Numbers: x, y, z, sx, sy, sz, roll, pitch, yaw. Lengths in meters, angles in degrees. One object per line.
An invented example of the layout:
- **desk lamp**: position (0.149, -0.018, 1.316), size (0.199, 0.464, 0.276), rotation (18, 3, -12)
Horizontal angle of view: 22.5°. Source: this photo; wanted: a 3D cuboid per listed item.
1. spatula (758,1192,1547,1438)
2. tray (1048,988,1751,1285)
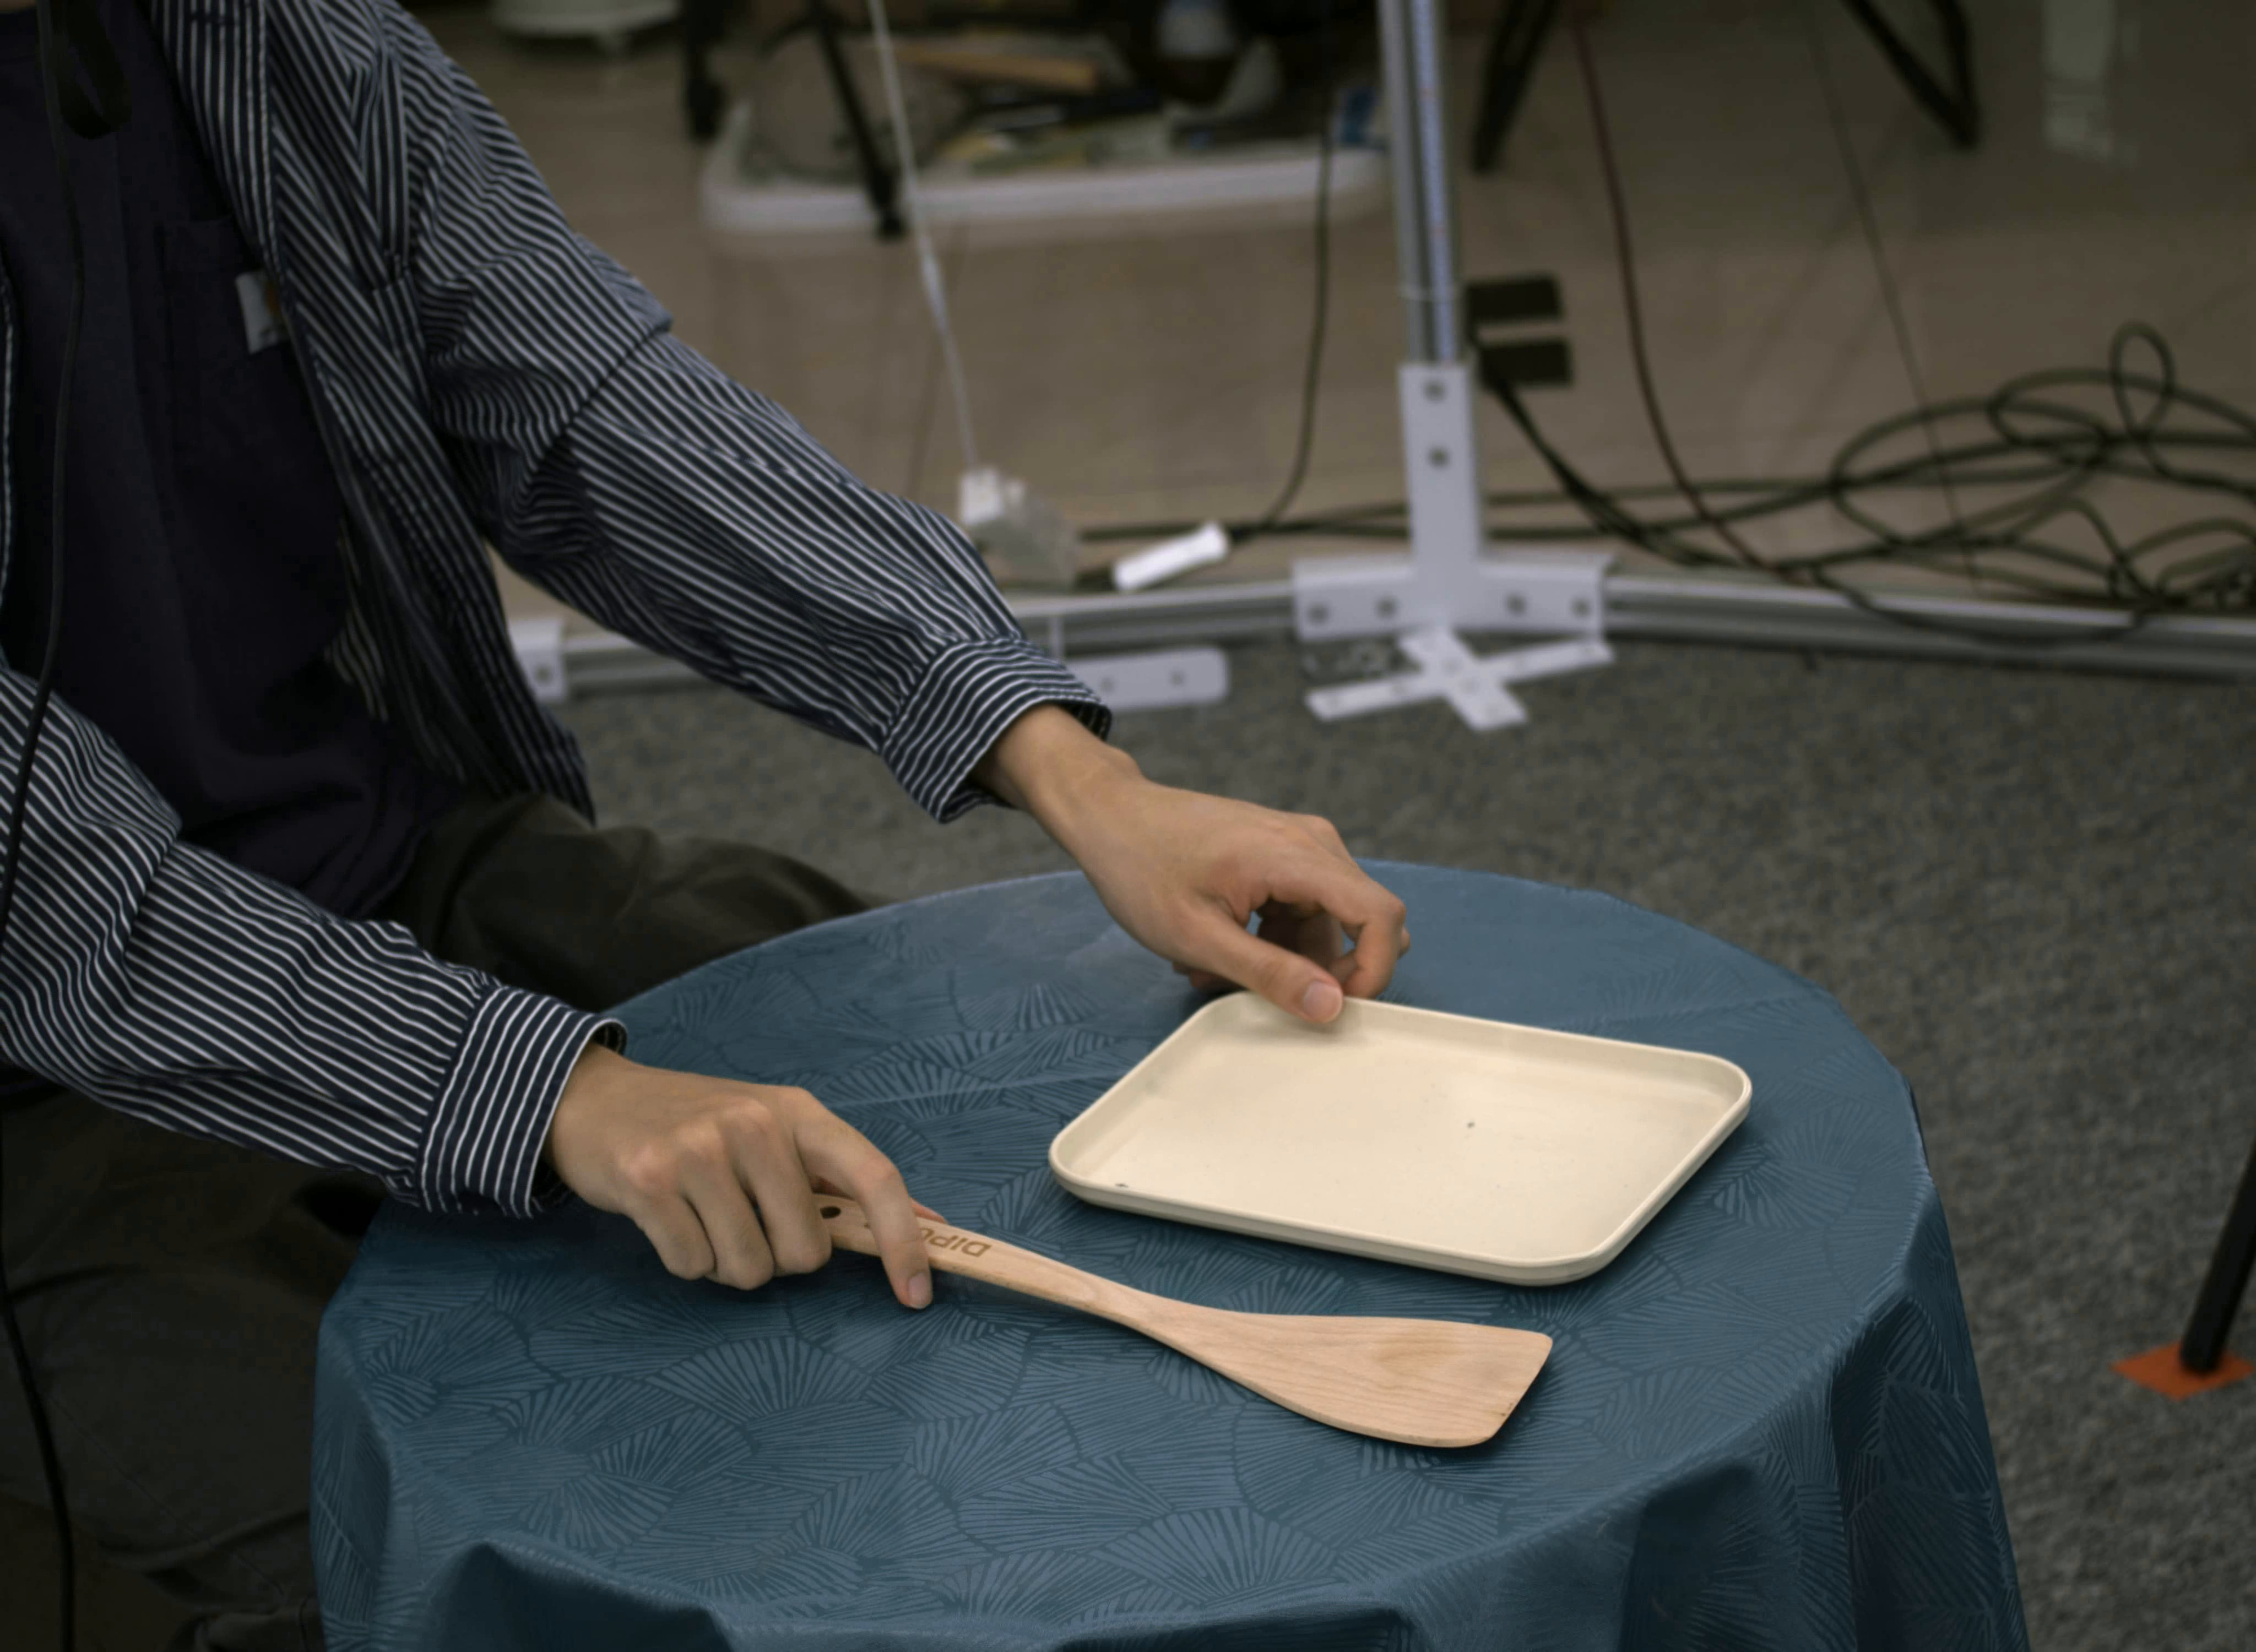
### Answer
- **spatula**: position (0.003, 0.170, 2.060), size (0.326, 0.017, 0.079), rotation (13, 30, 29)
- **tray**: position (0.103, 0.117, 2.151), size (0.238, 0.018, 0.169), rotation (9, 29, 30)
